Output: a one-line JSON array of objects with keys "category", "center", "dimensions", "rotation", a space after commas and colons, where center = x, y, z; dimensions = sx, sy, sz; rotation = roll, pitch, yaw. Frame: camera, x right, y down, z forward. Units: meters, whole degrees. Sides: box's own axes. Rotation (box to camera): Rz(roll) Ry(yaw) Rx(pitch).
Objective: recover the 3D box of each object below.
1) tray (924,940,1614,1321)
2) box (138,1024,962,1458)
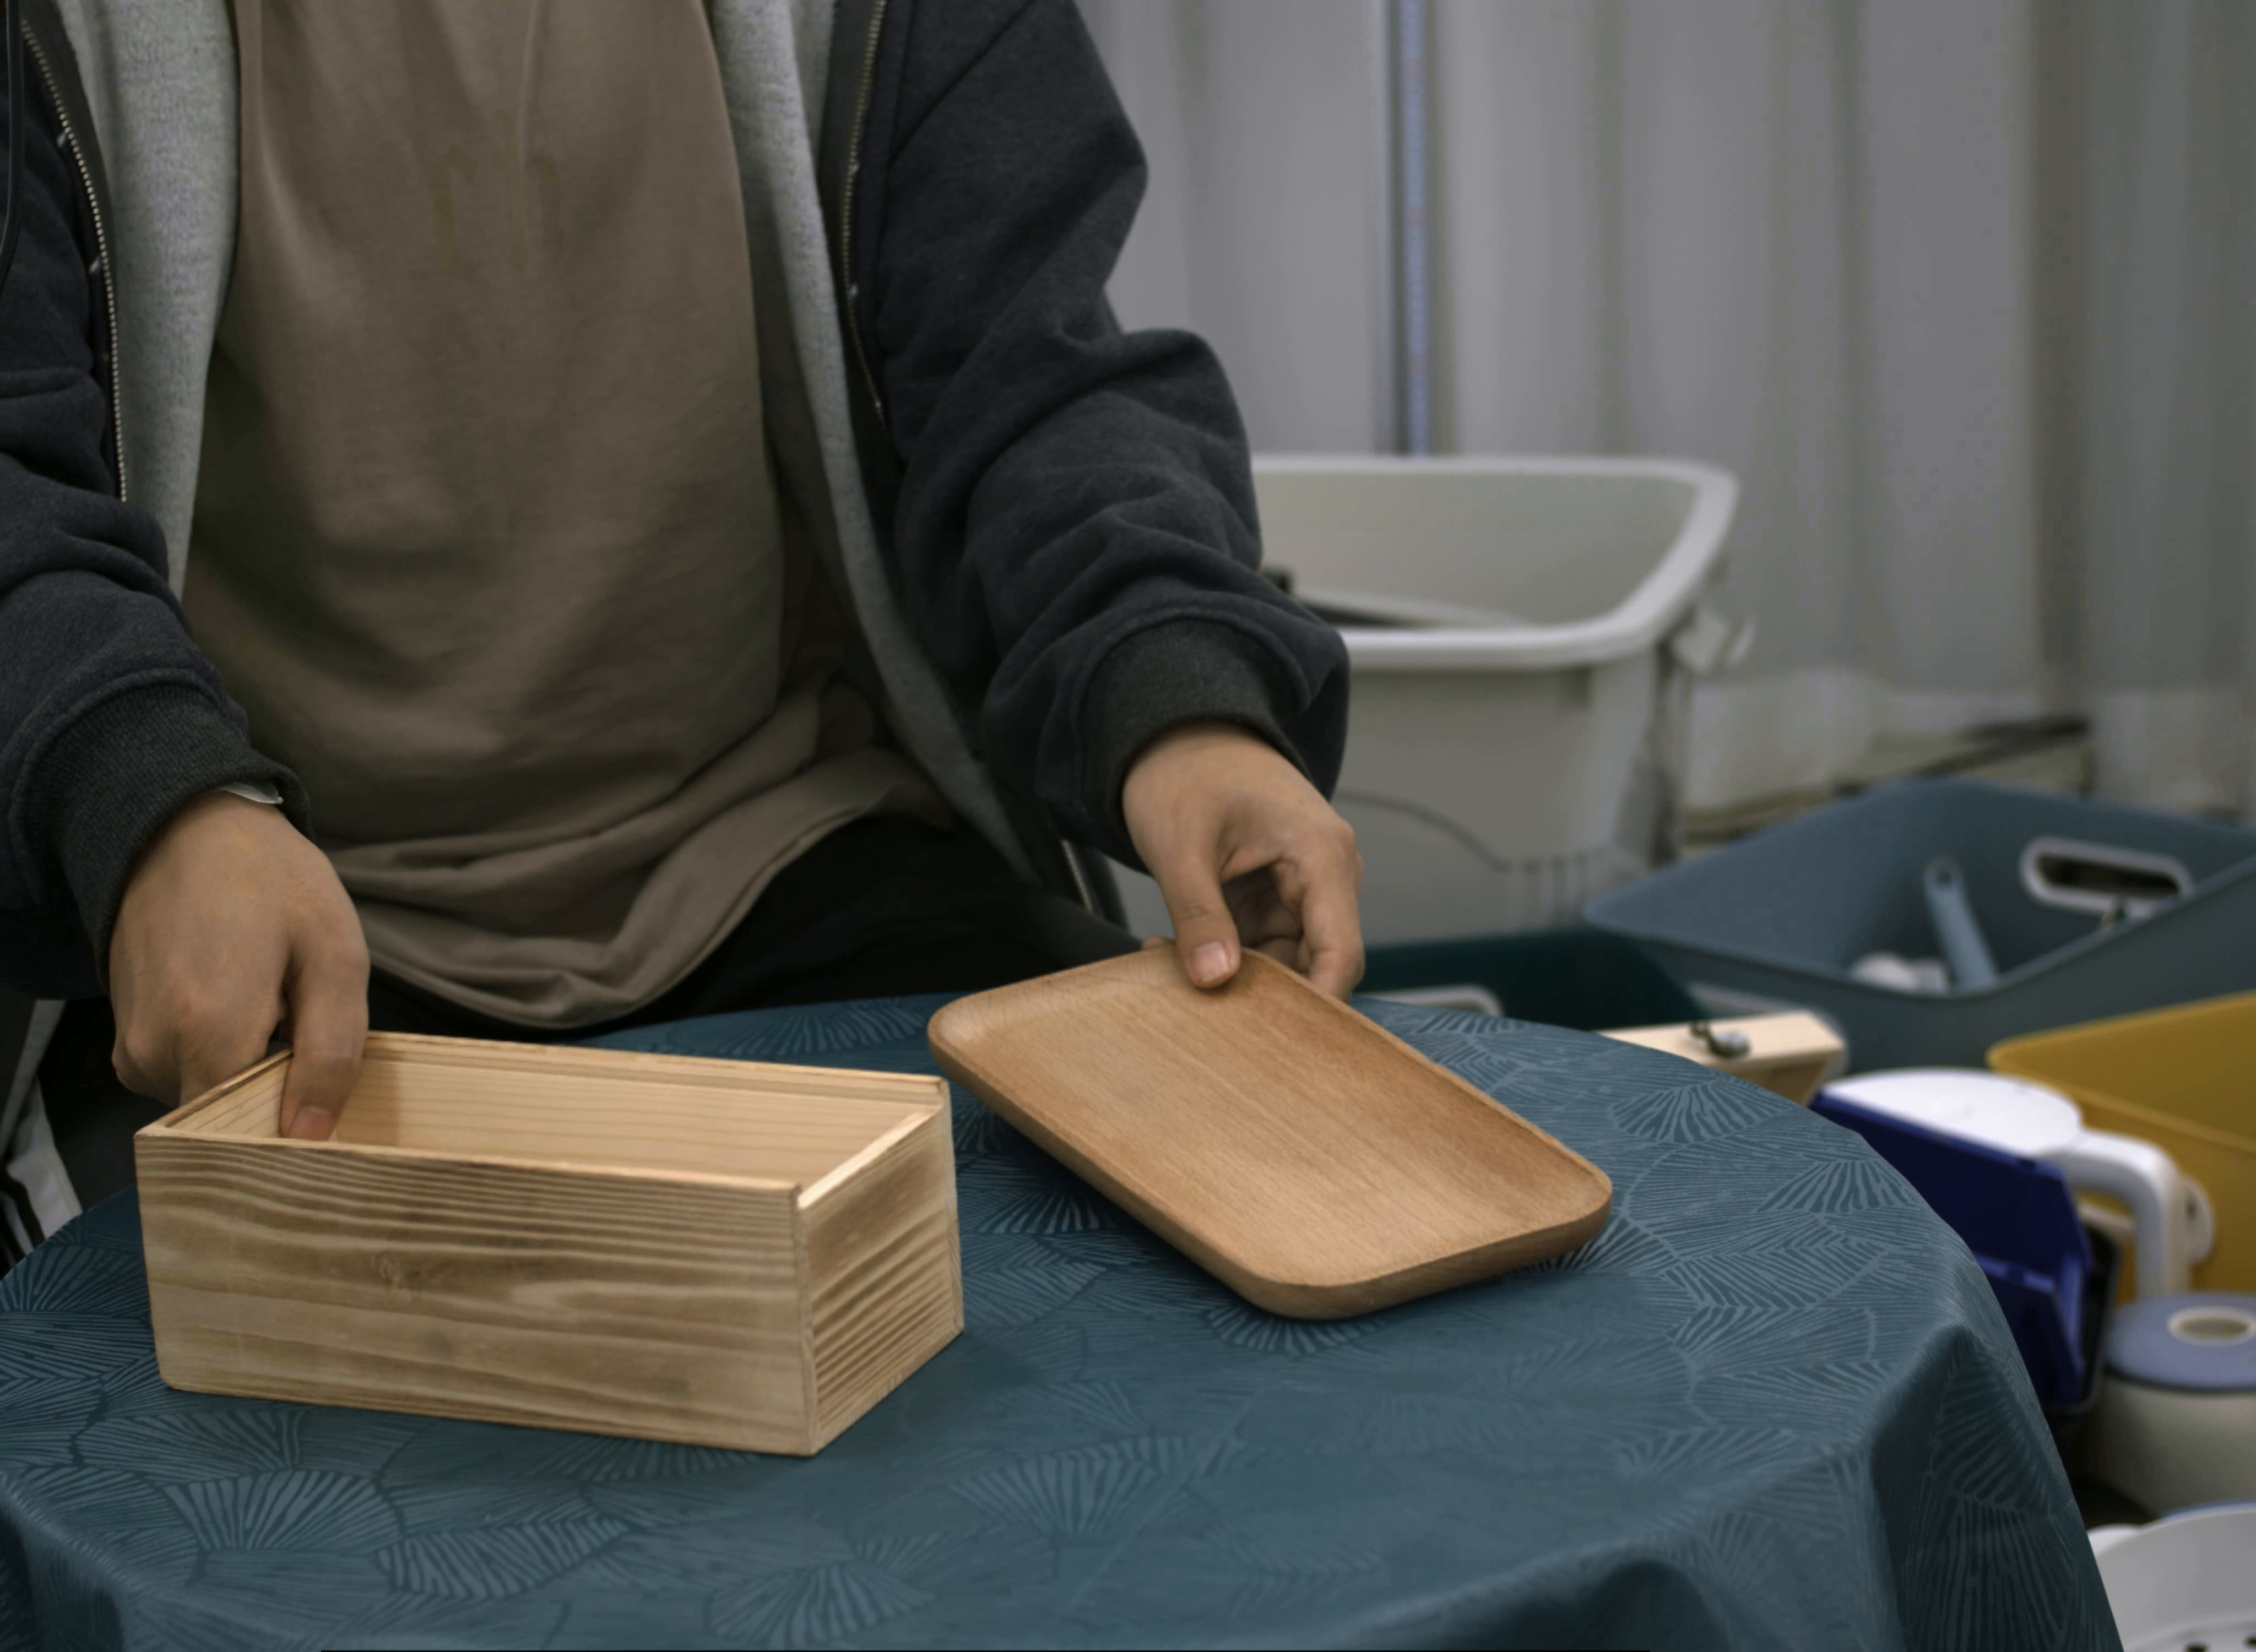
[{"category": "tray", "center": [0.040, 0.092, 1.706], "dimensions": [0.130, 0.023, 0.253], "rotation": [-10, 22, -26]}, {"category": "box", "center": [-0.167, 0.118, 1.585], "dimensions": [0.211, 0.080, 0.108], "rotation": [3, 16, 23]}]
